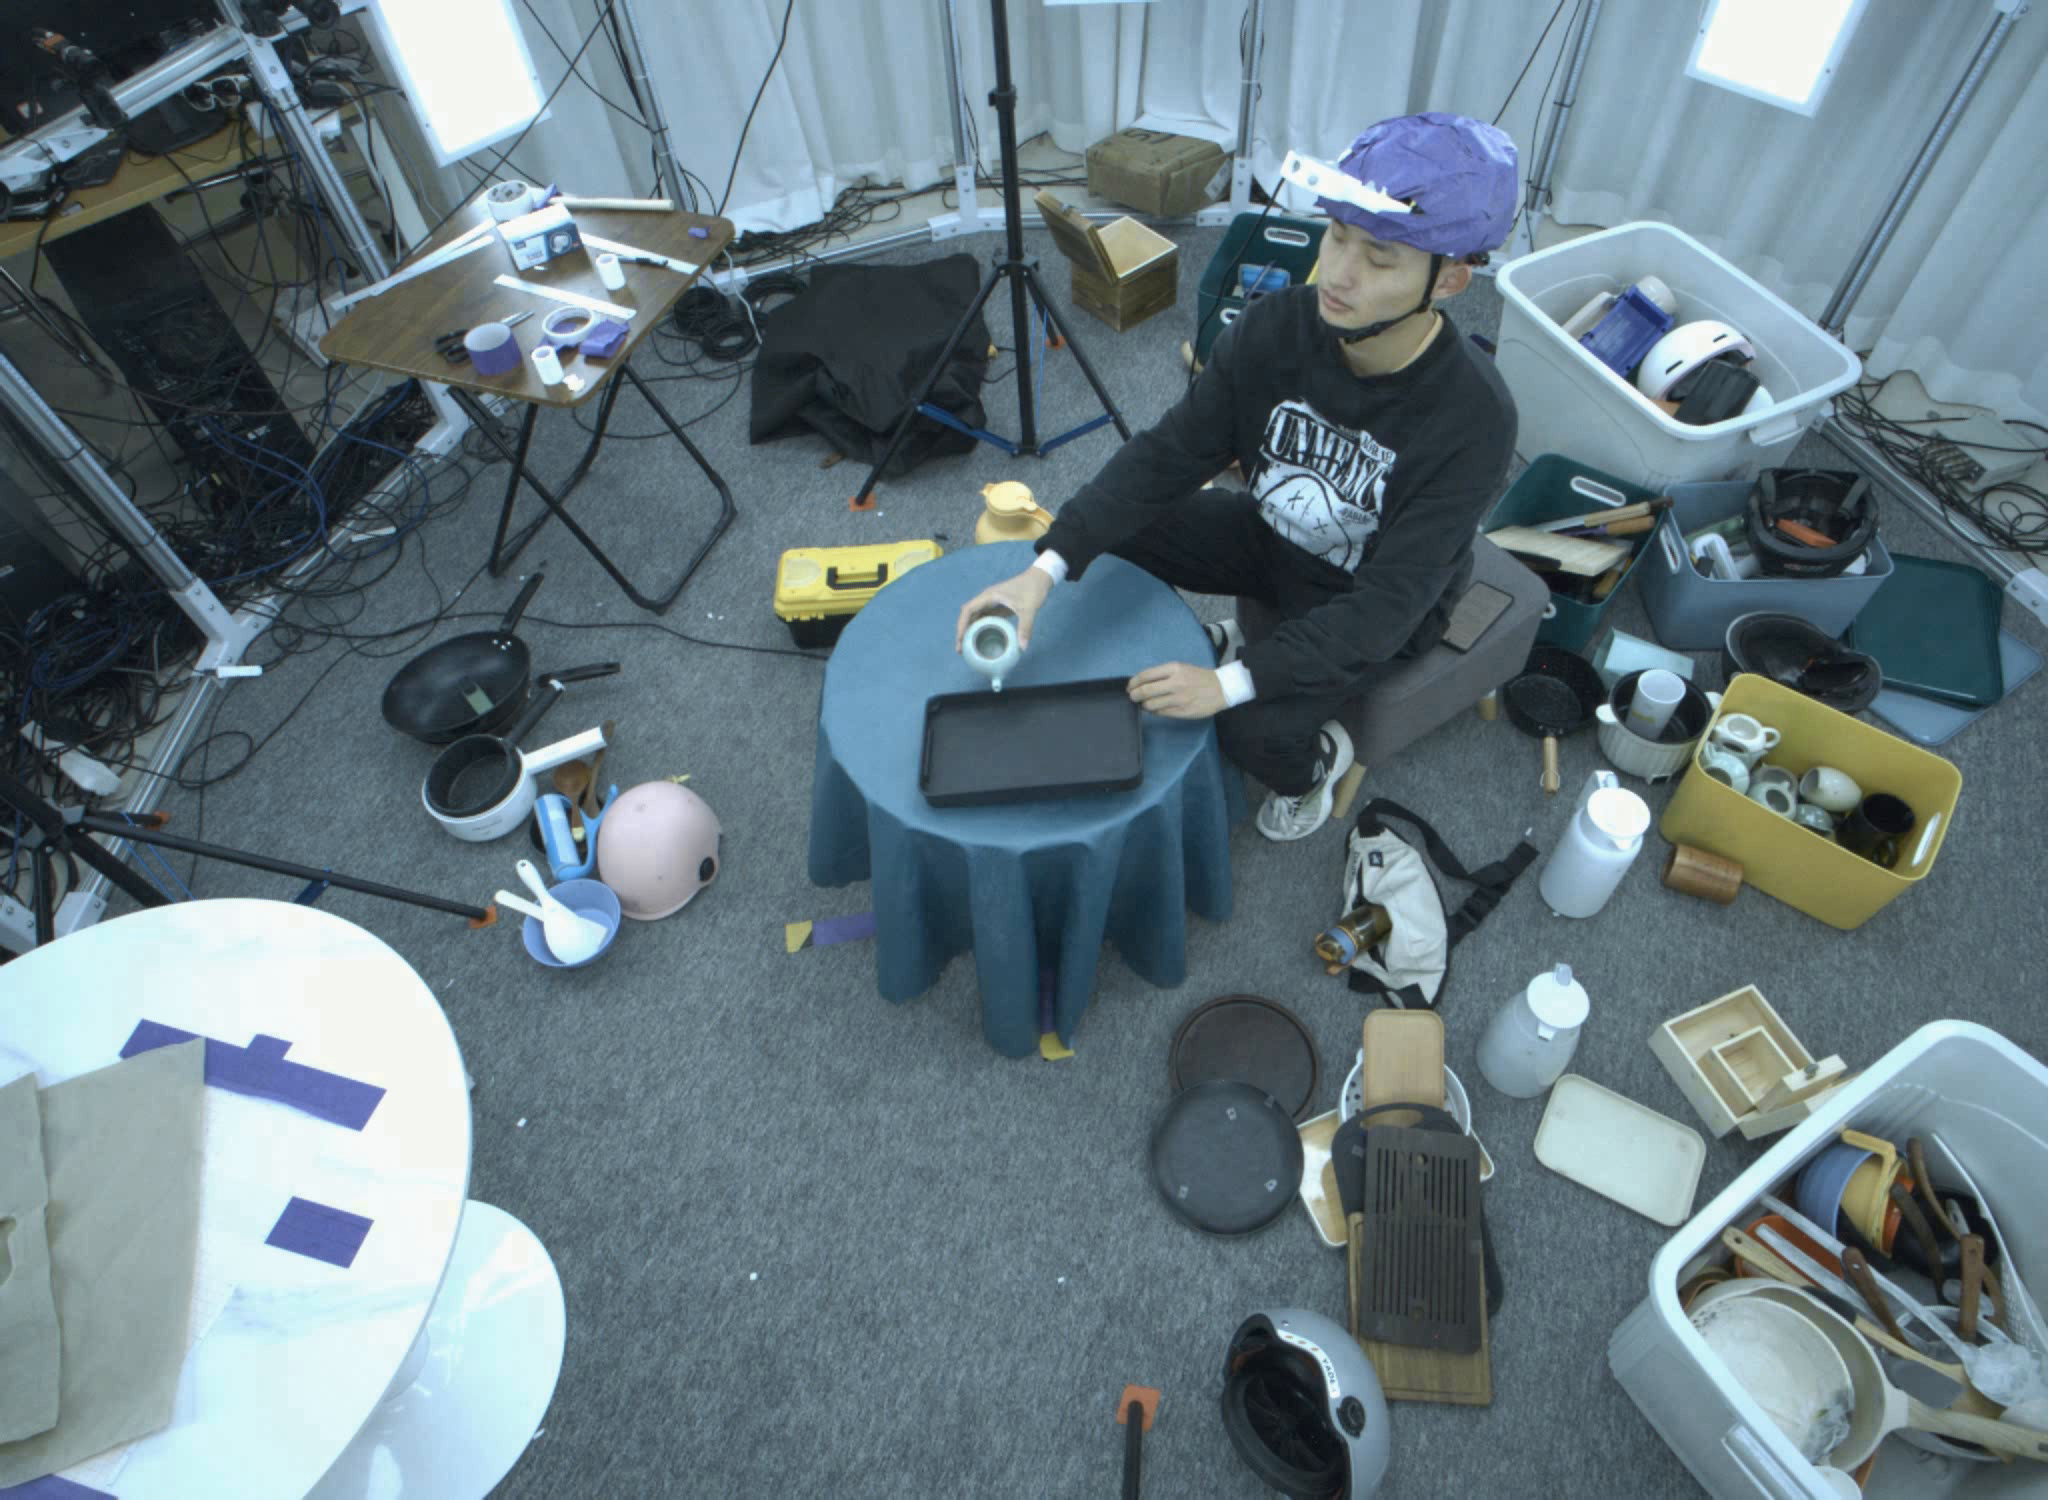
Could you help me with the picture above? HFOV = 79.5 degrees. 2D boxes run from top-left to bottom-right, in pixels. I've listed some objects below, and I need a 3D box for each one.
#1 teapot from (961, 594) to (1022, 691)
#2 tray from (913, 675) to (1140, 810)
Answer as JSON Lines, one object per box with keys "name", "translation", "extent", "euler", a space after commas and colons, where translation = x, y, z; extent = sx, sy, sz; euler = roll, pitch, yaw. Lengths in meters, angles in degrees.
{"name": "teapot", "translation": [-0.047, -0.152, 1.778], "extent": [0.088, 0.075, 0.143], "euler": [-7, 86, 1]}
{"name": "tray", "translation": [0.004, -0.012, 1.748], "extent": [0.317, 0.037, 0.182], "euler": [-6, 54, 6]}
